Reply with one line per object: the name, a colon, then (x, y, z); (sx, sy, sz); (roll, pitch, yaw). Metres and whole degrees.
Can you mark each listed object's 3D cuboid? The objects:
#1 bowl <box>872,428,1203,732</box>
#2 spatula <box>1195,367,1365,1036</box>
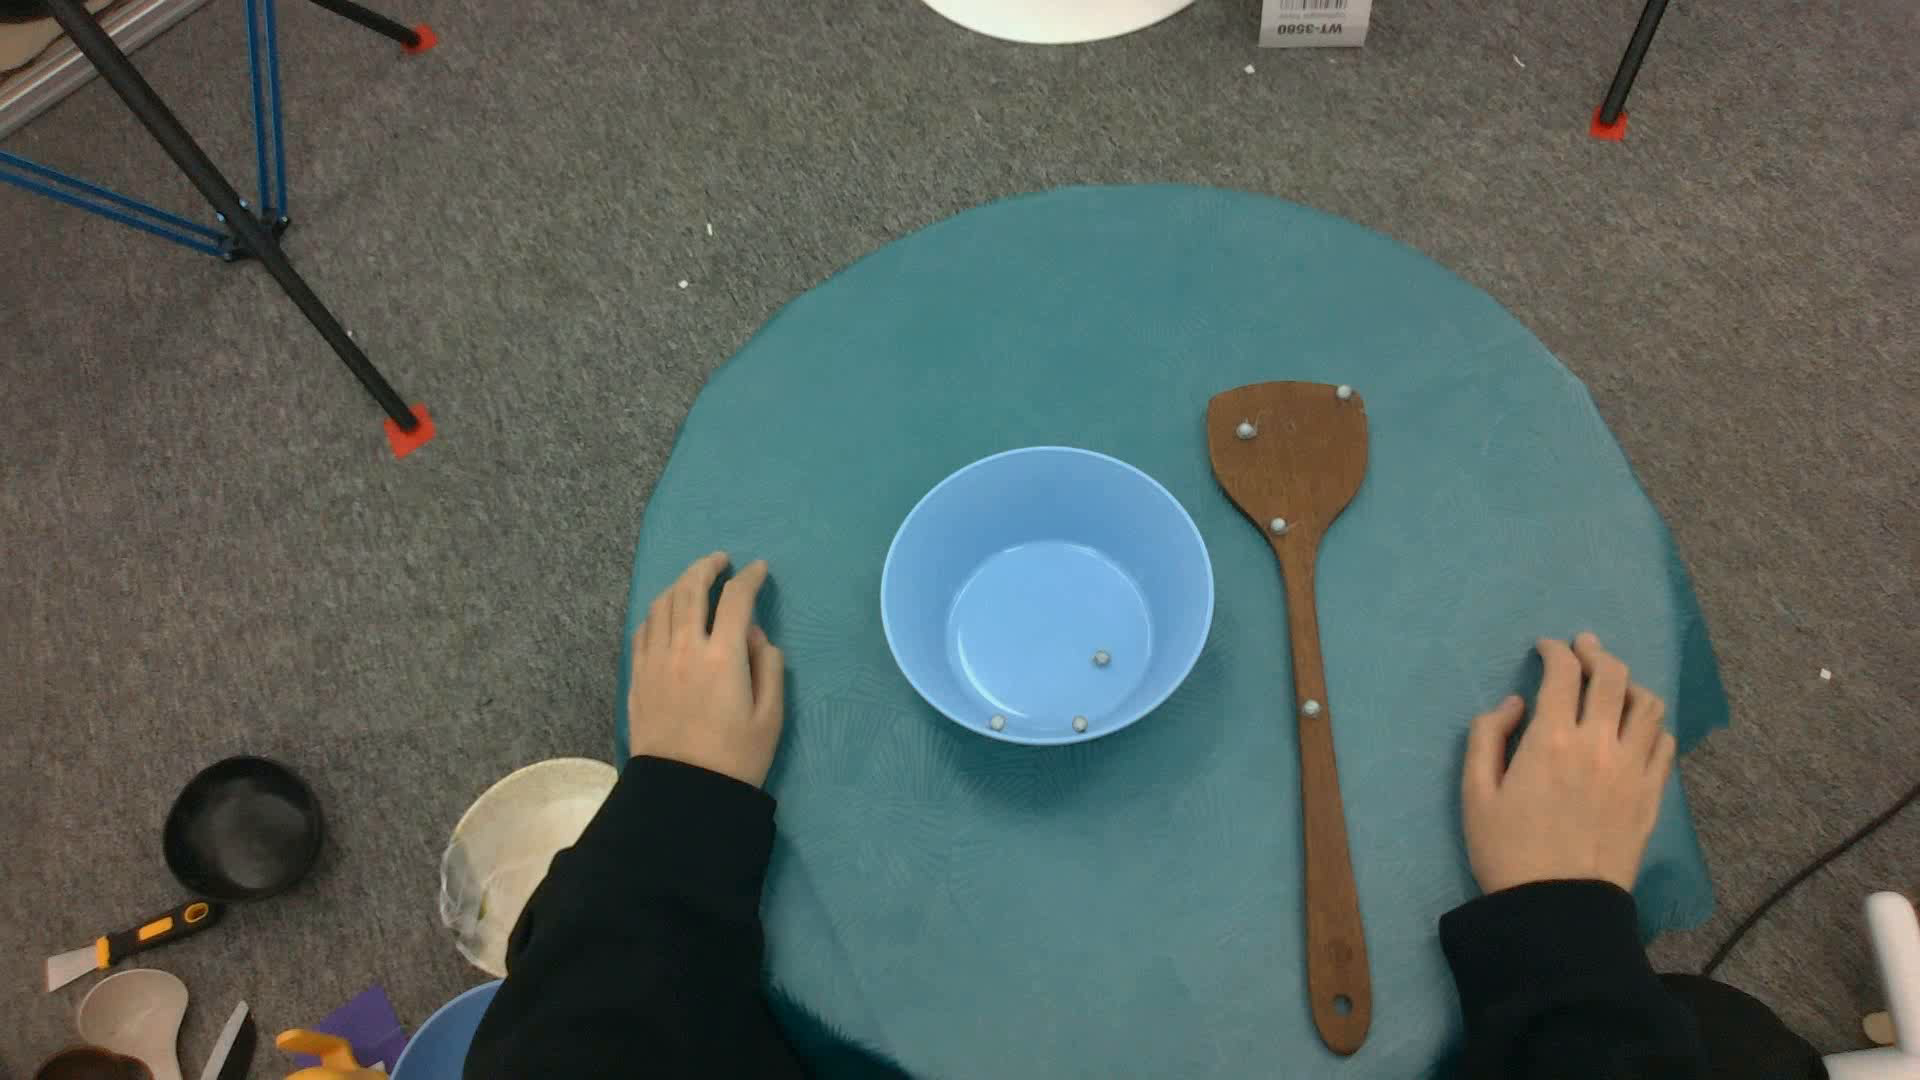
bowl: (0.043, 0.030, 0.754); (0.176, 0.070, 0.176); (-2, 63, 4)
spatula: (0.186, 0.067, 0.754); (0.096, 0.016, 0.387); (-1, 62, 5)
